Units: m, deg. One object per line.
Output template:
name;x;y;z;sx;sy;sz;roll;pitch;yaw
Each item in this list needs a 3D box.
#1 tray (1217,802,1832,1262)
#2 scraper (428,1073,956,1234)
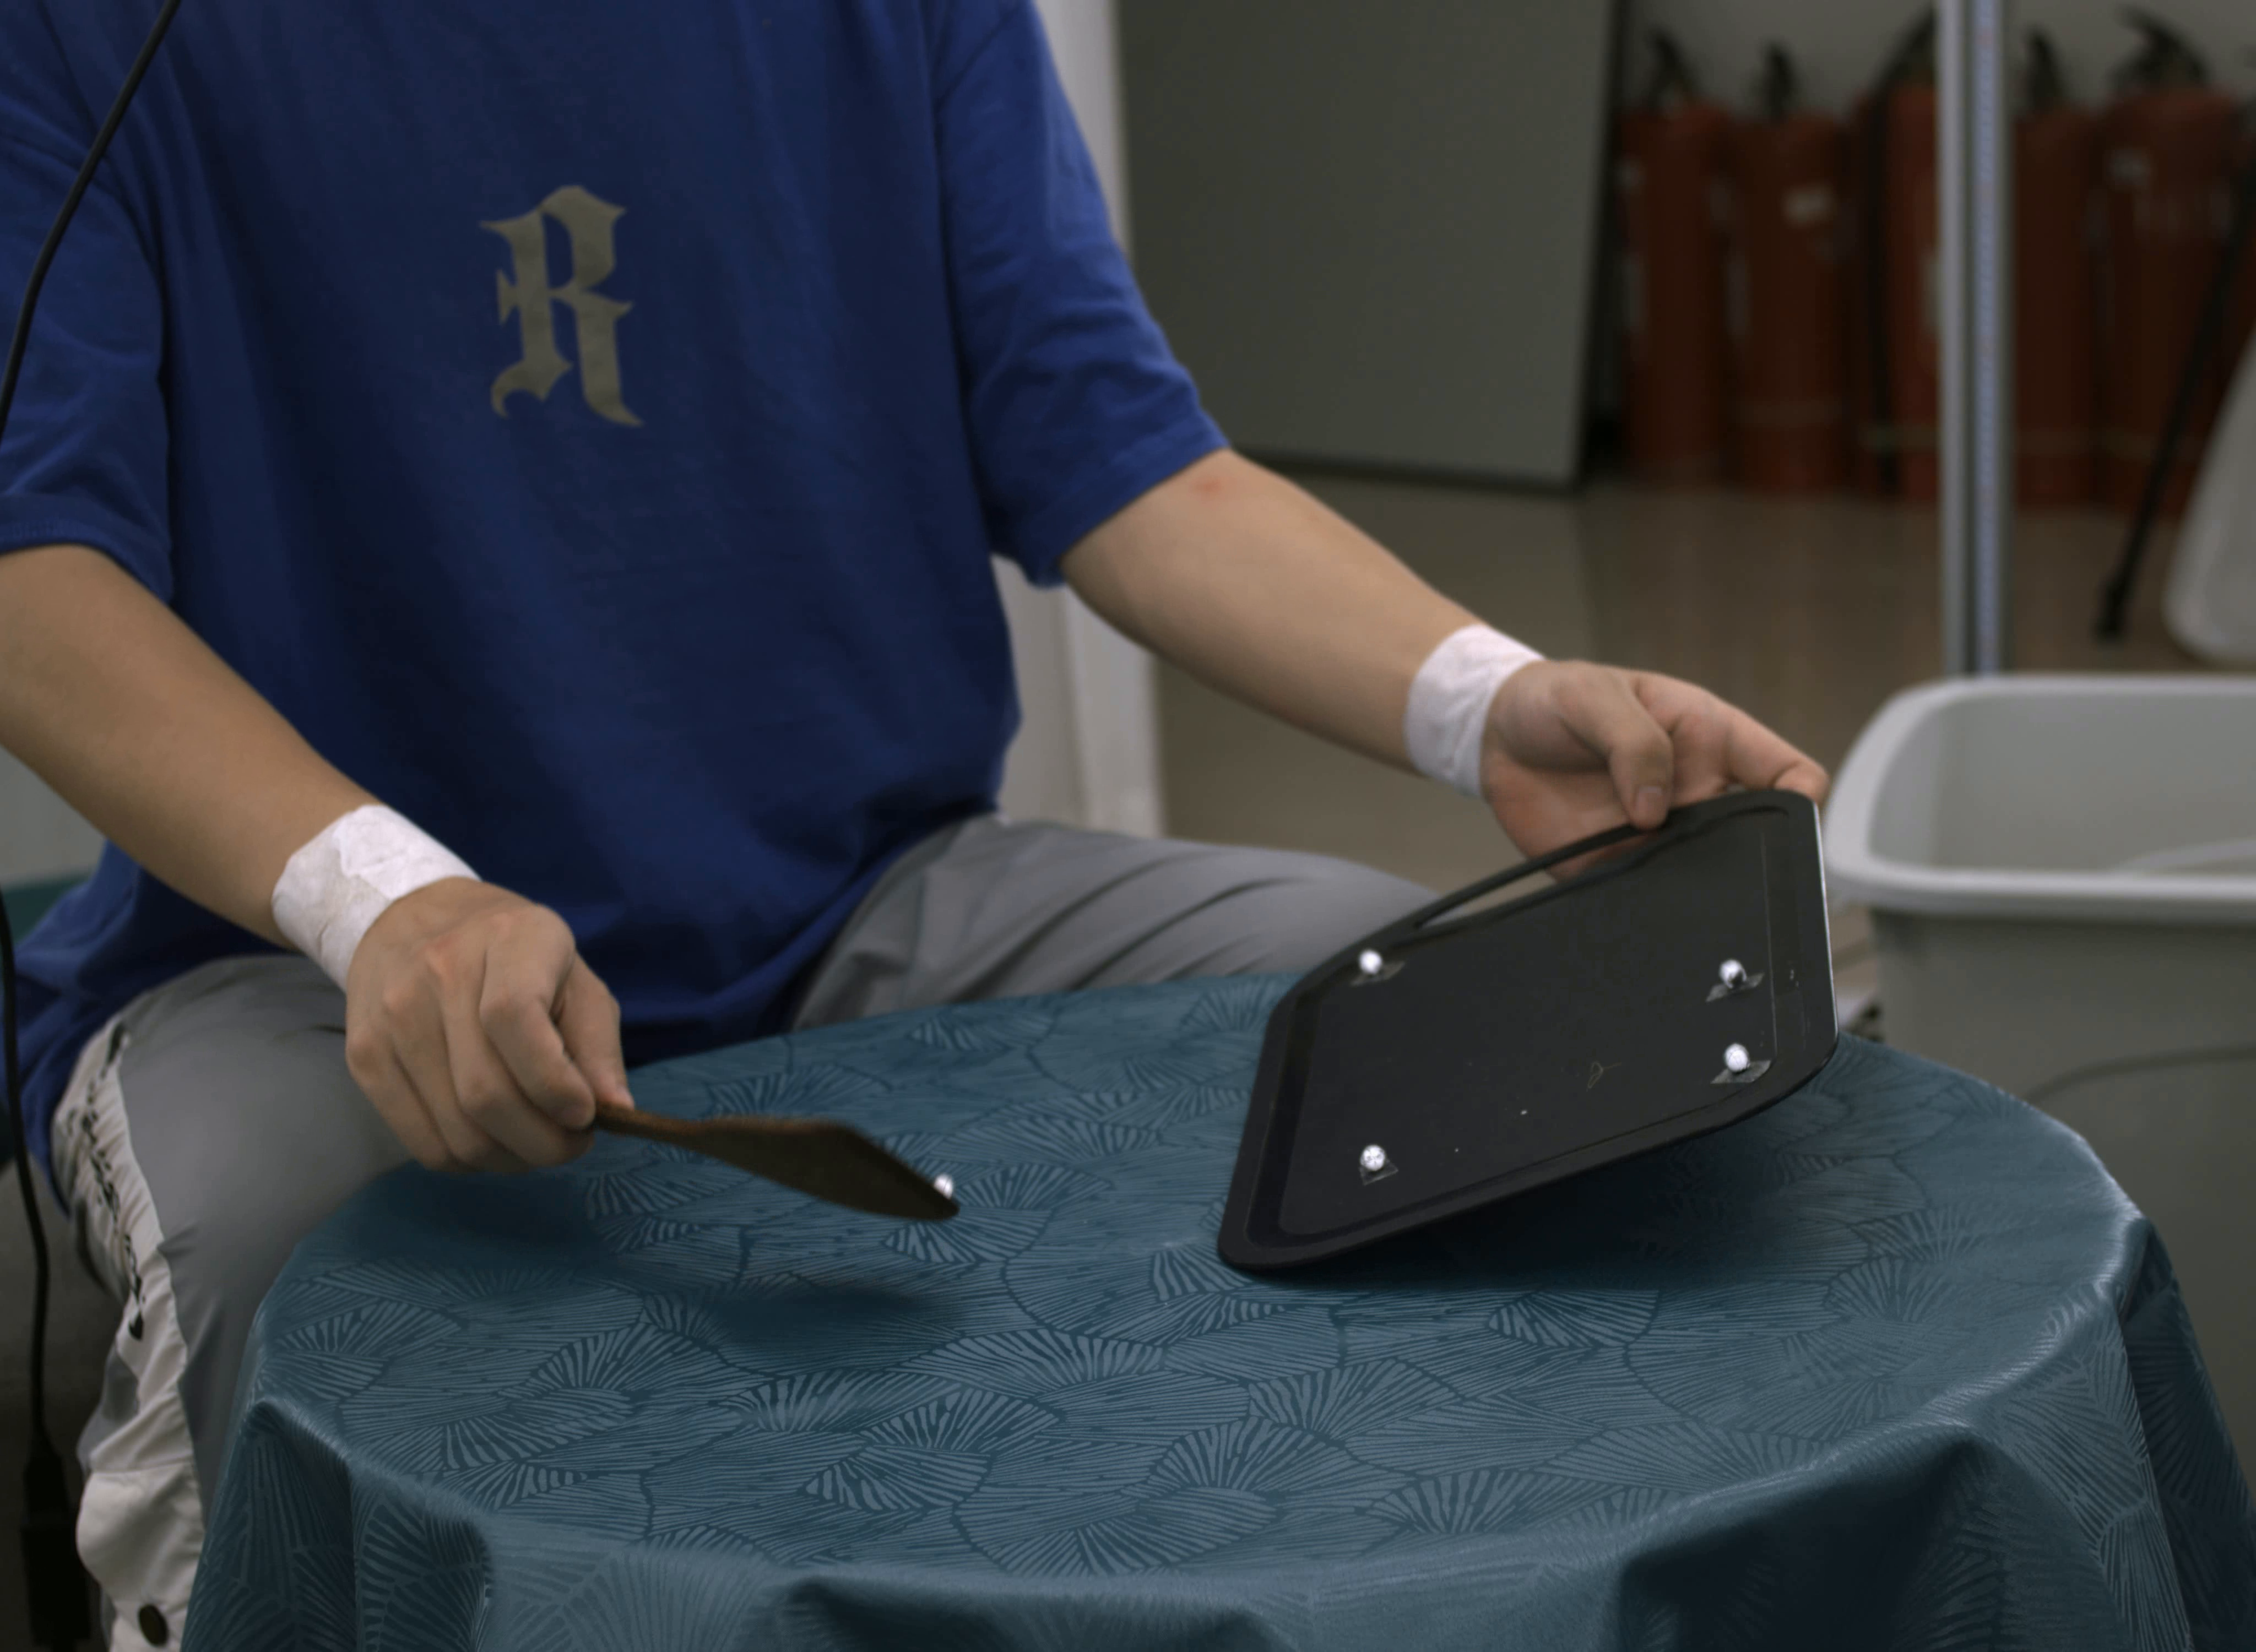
tray;0.135;0.061;1.800;0.210;0.010;0.325;-21;14;13
scraper;-0.146;0.100;1.719;0.213;0.011;0.075;9;-22;41
